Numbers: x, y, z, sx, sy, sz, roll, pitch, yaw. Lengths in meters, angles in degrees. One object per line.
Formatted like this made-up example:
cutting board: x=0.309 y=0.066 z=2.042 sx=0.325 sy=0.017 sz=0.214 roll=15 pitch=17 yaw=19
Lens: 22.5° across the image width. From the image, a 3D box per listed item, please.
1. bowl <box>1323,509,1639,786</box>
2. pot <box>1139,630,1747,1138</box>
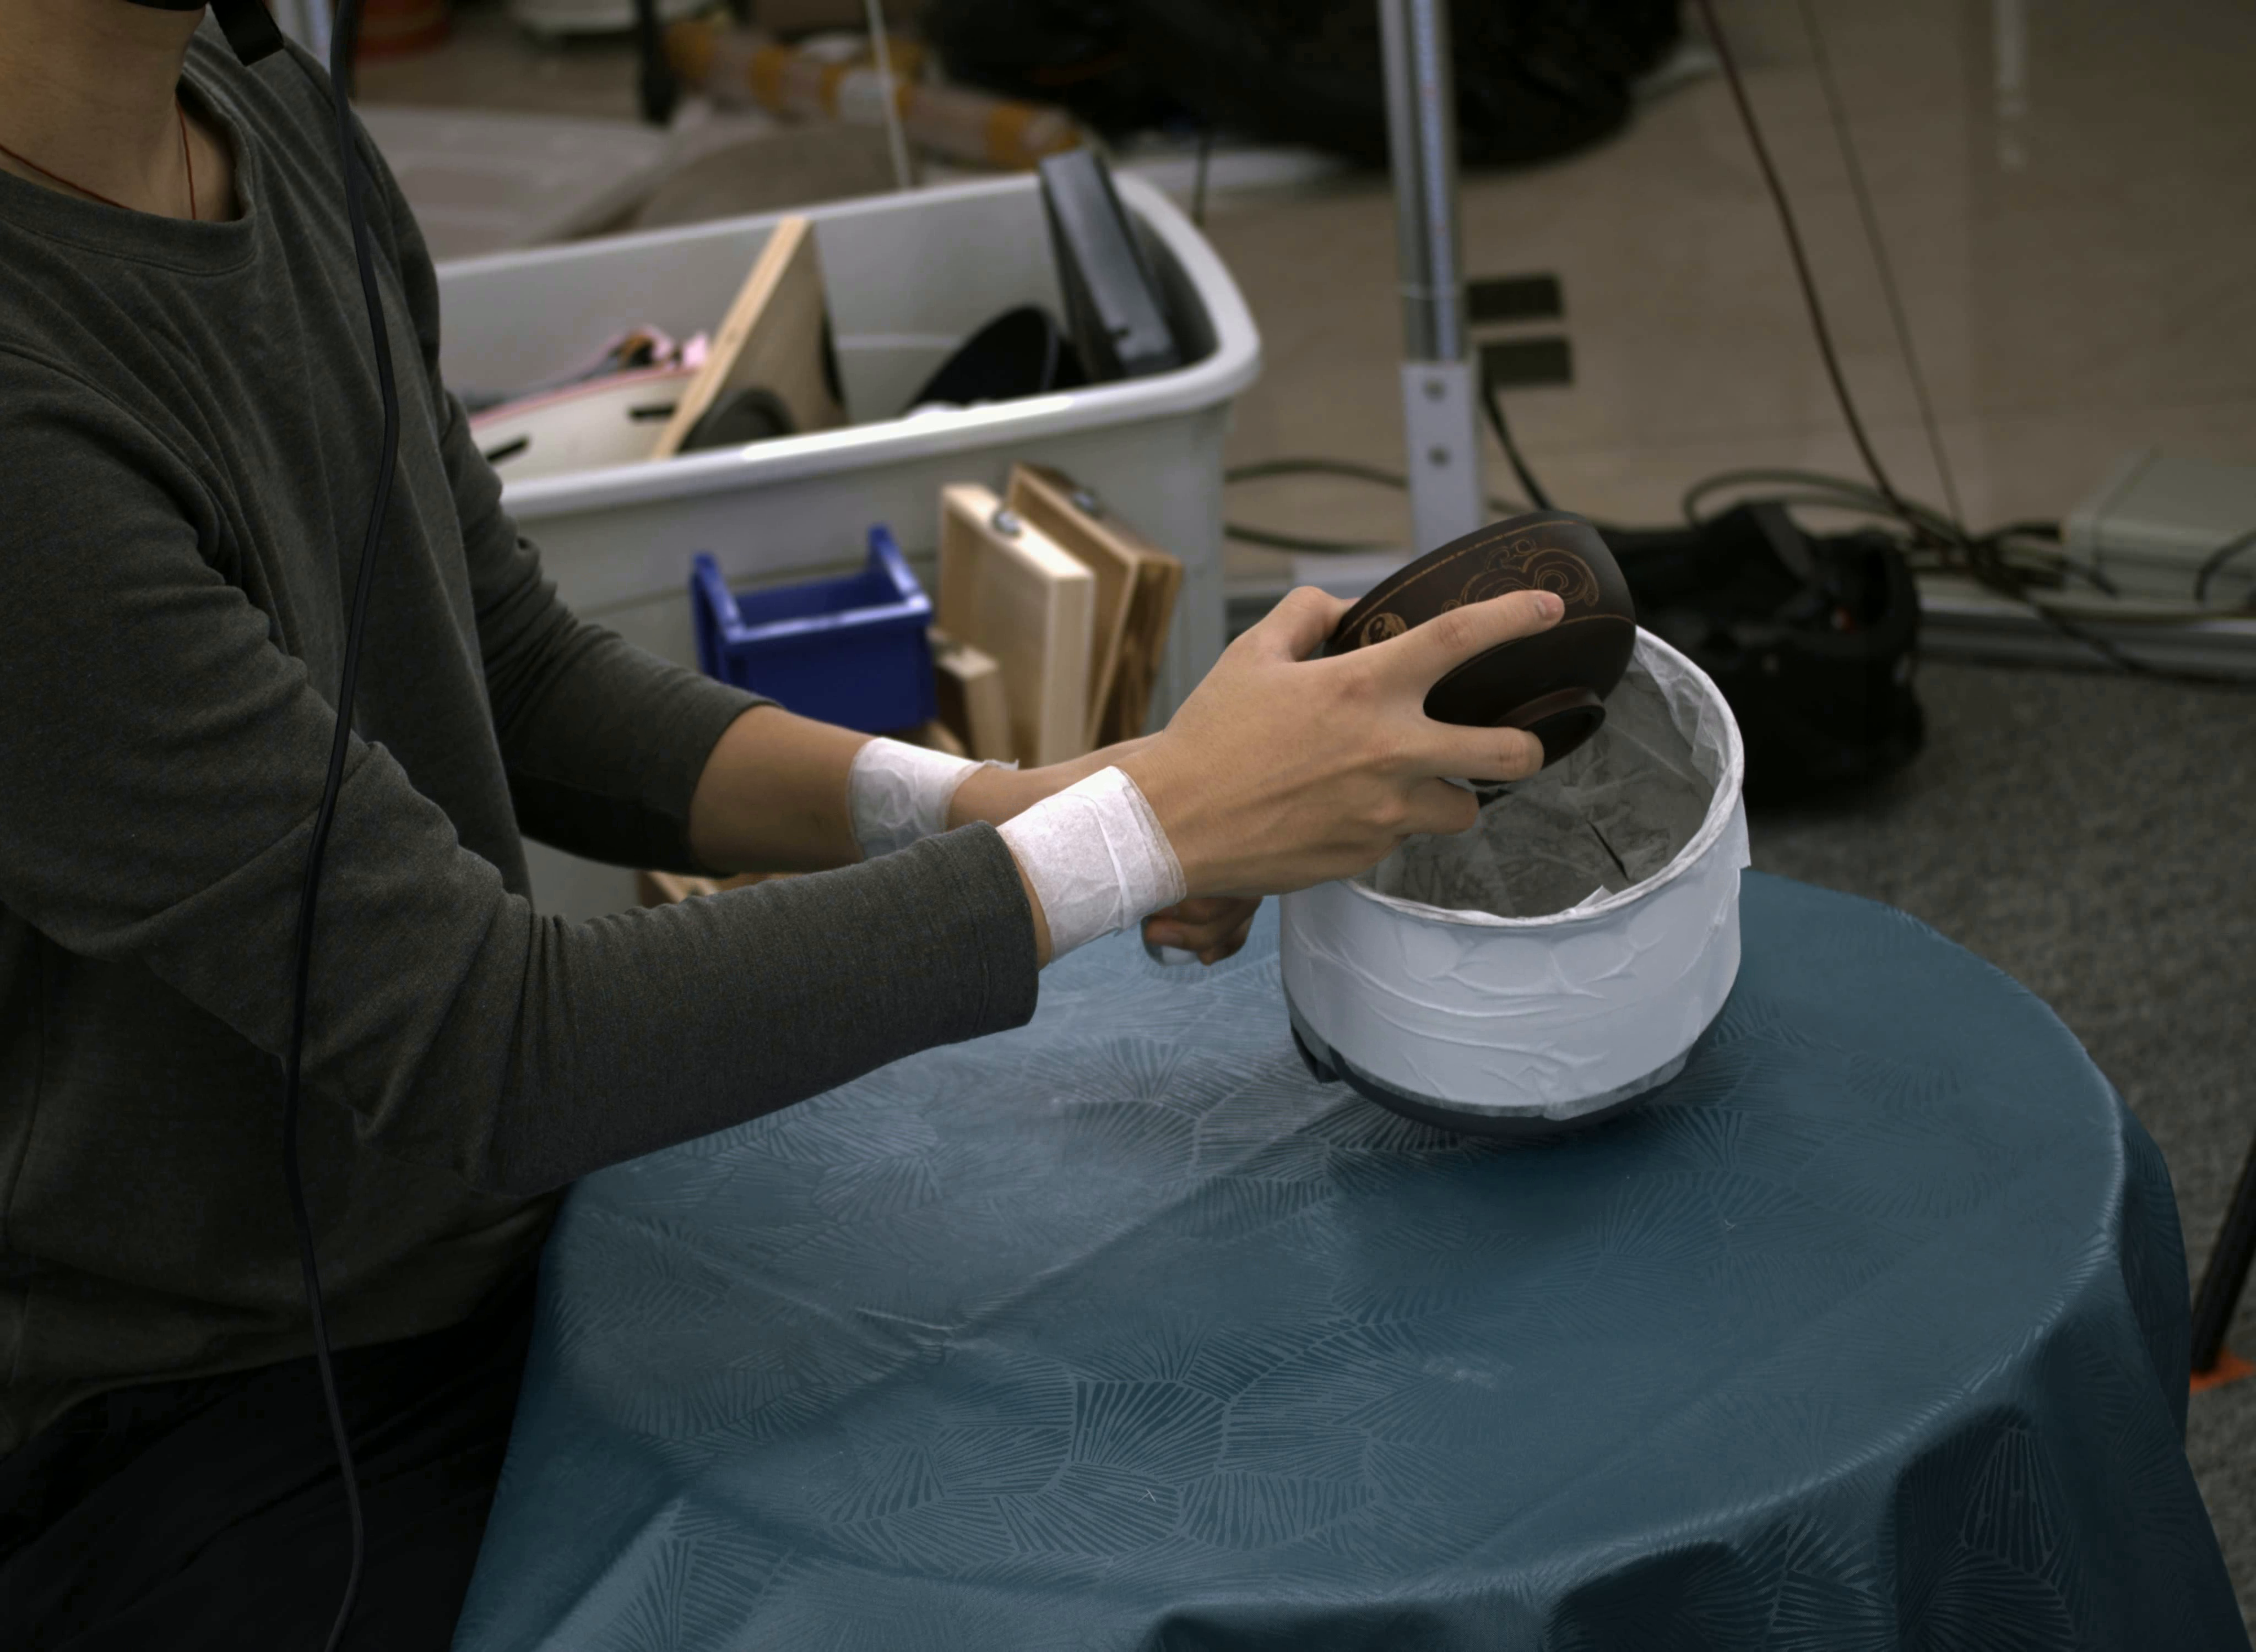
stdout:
bowl: x=0.139 y=-0.059 z=2.115 sx=0.117 sy=0.119 sz=0.069 roll=-19 pitch=70 yaw=-25
pot: x=0.118 y=0.018 z=2.165 sx=0.233 sy=0.139 sz=0.175 roll=5 pitch=45 yaw=8
